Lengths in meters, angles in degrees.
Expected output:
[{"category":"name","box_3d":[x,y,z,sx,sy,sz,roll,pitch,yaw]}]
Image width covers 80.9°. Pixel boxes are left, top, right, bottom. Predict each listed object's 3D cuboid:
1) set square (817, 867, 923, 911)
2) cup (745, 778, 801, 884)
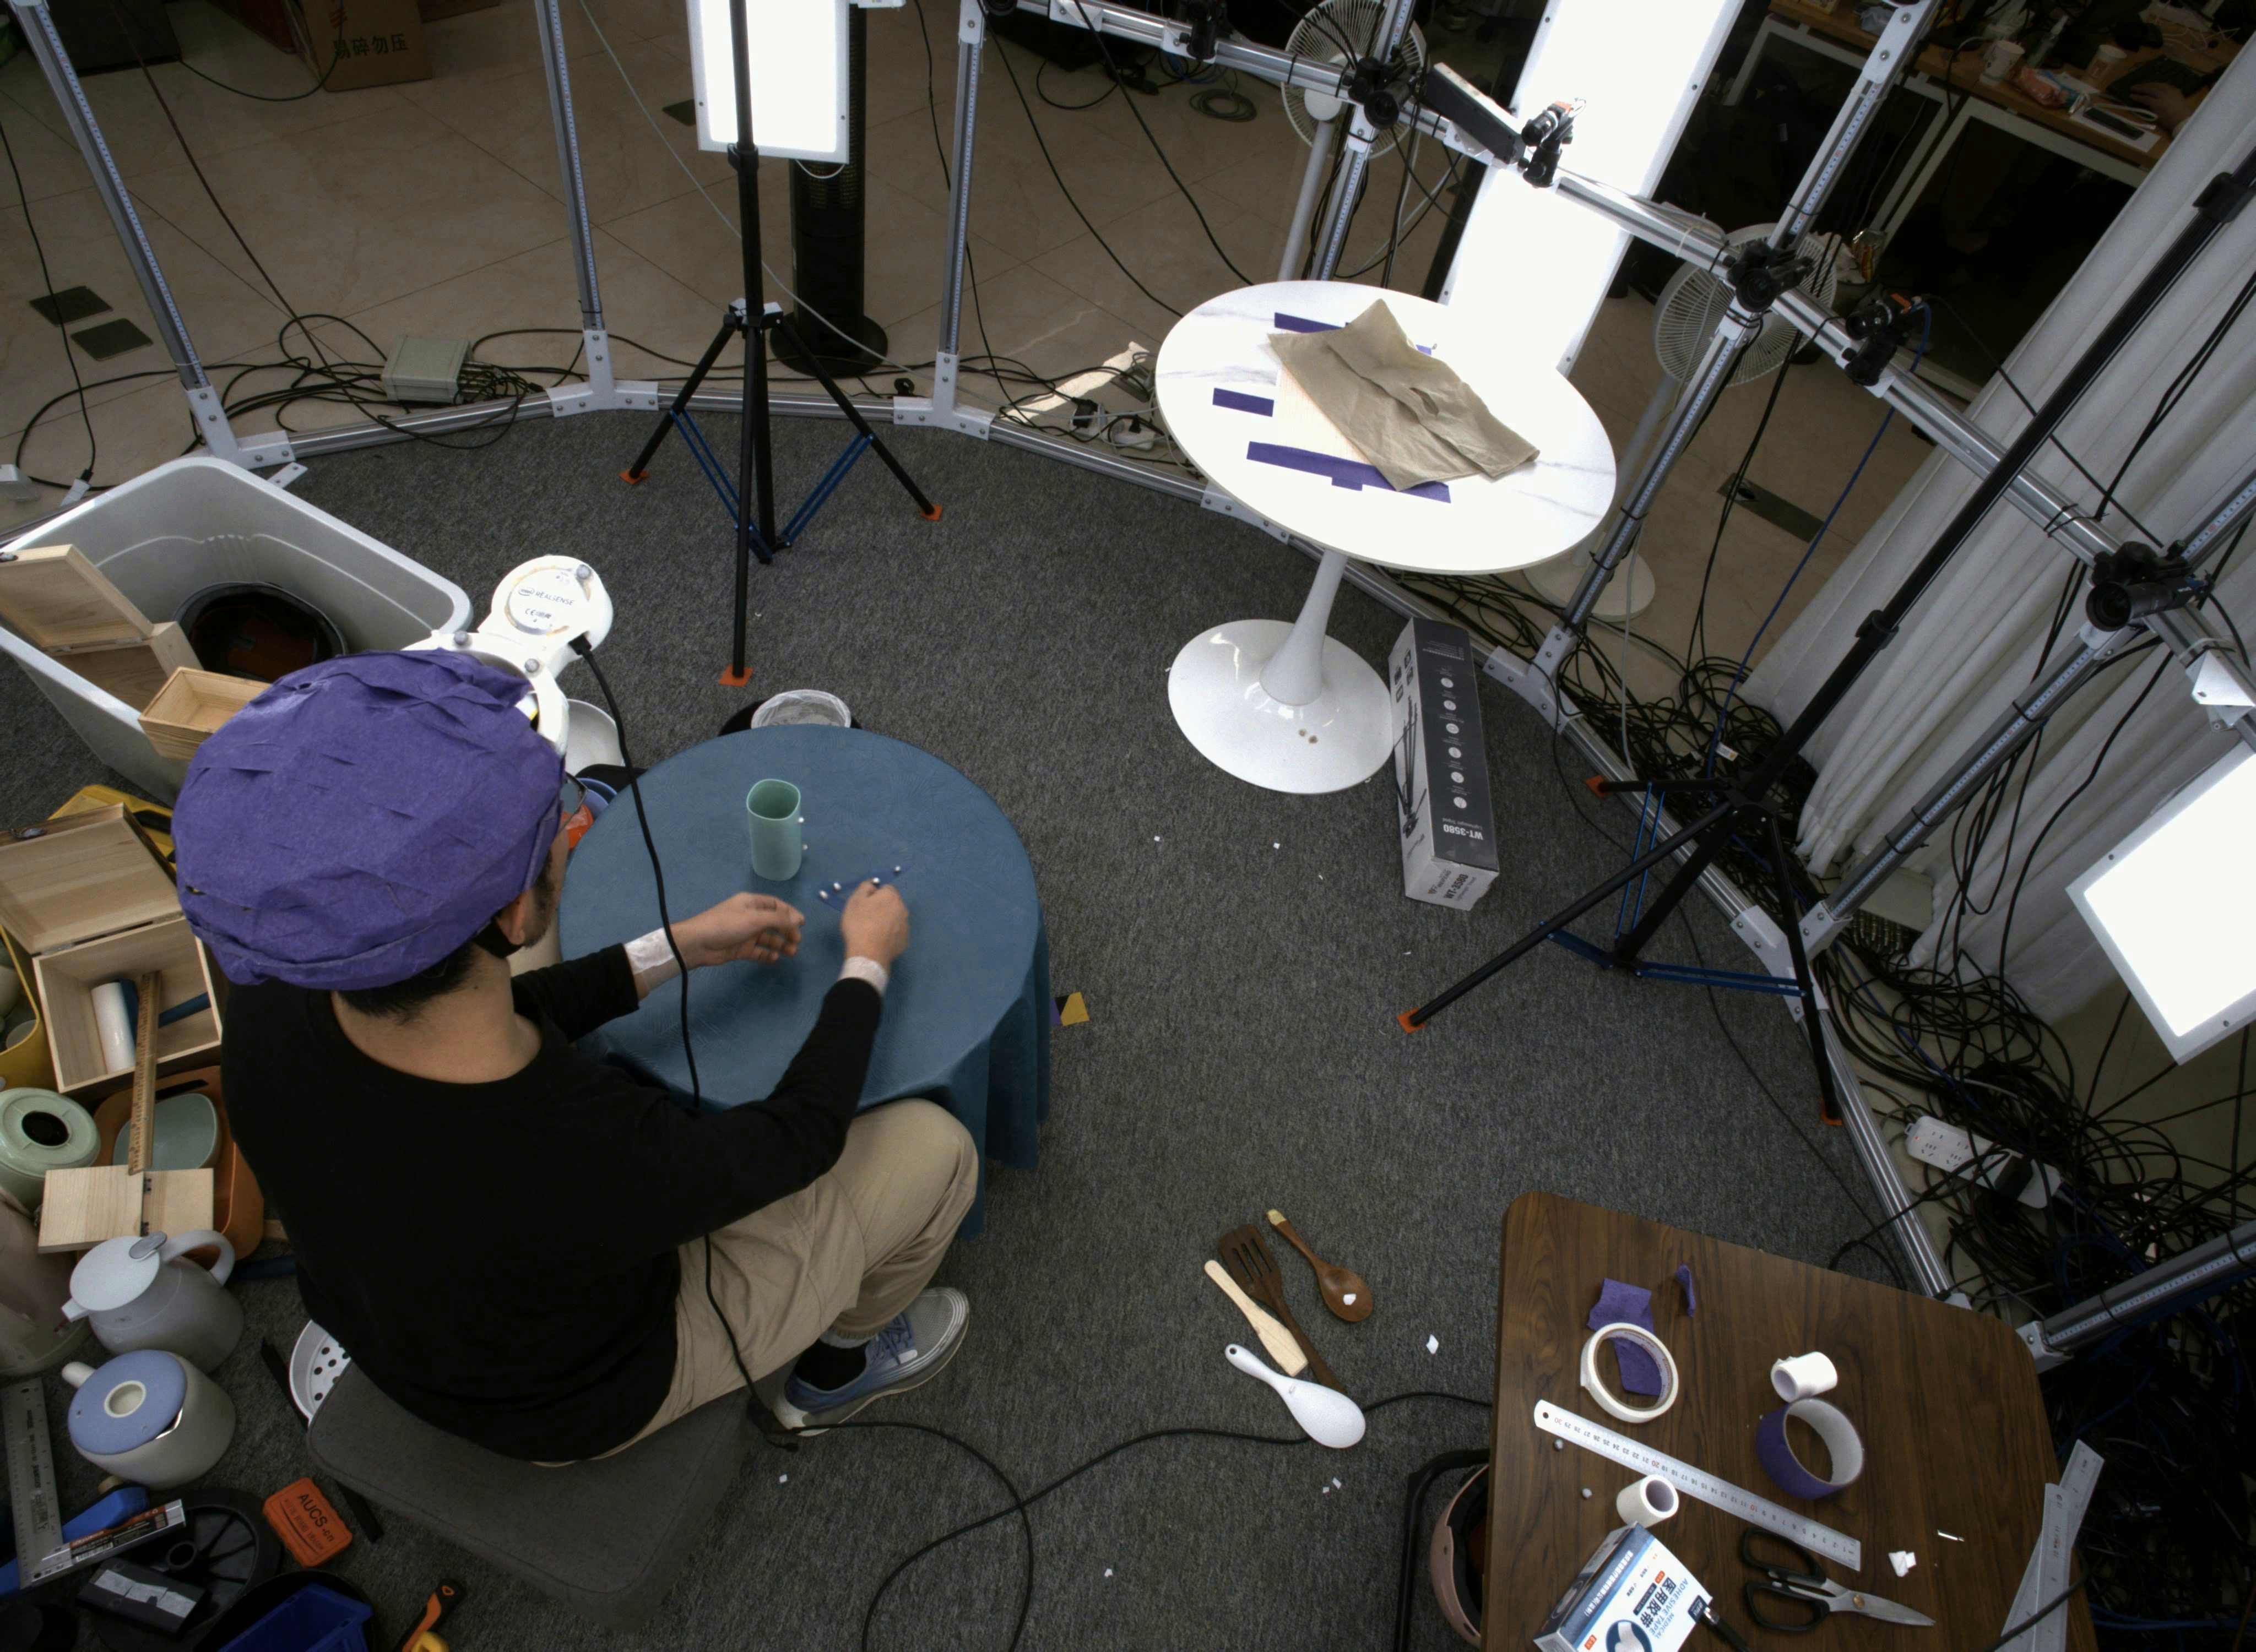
[{"category":"set square","box_3d":[-0.314,0.075,1.593,0.132,0.007,0.059,-11,38,-14]},{"category":"cup","box_3d":[-0.445,0.007,1.628,0.066,0.135,0.065,7,51,-7]}]
